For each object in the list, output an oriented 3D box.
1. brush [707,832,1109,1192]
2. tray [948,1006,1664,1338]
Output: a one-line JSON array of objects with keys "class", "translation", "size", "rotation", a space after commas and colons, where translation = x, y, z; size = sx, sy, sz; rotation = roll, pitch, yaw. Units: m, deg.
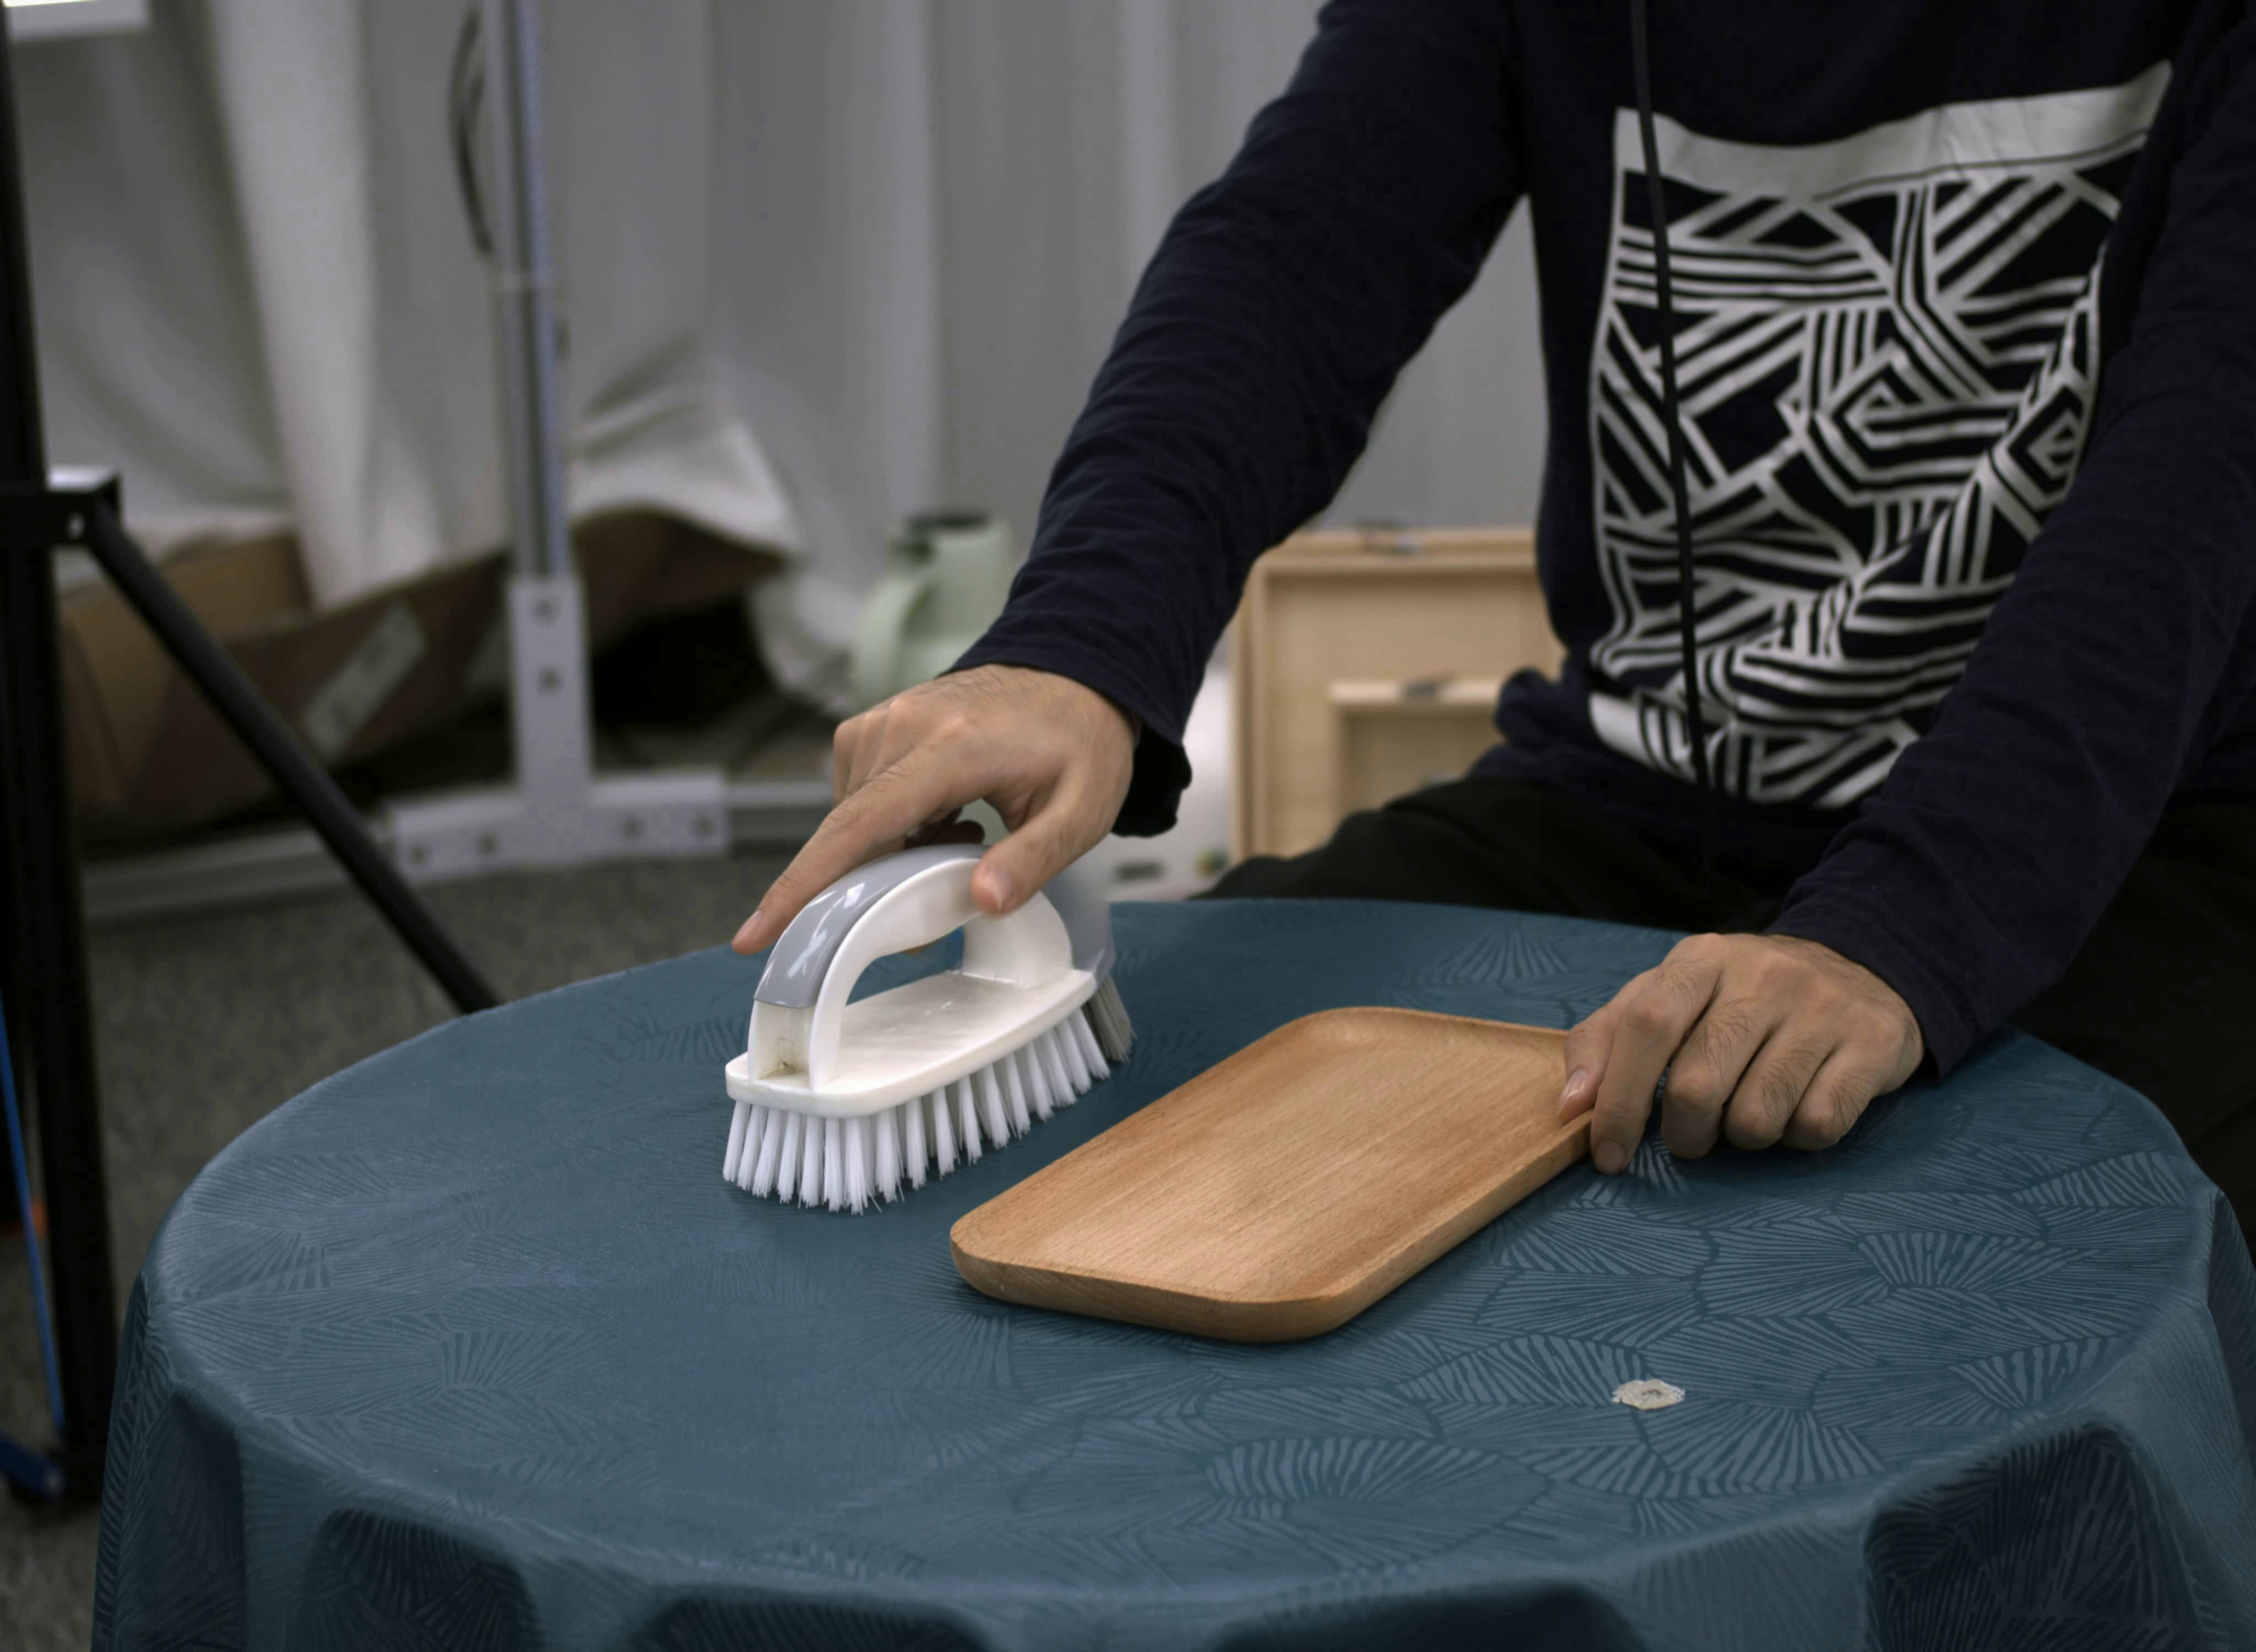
[{"class": "brush", "translation": [-0.057, 0.046, 1.620], "size": [0.063, 0.094, 0.172], "rotation": [9, 17, 35]}, {"class": "tray", "translation": [0.057, 0.099, 1.555], "size": [0.133, 0.023, 0.246], "rotation": [10, 19, 30]}]
